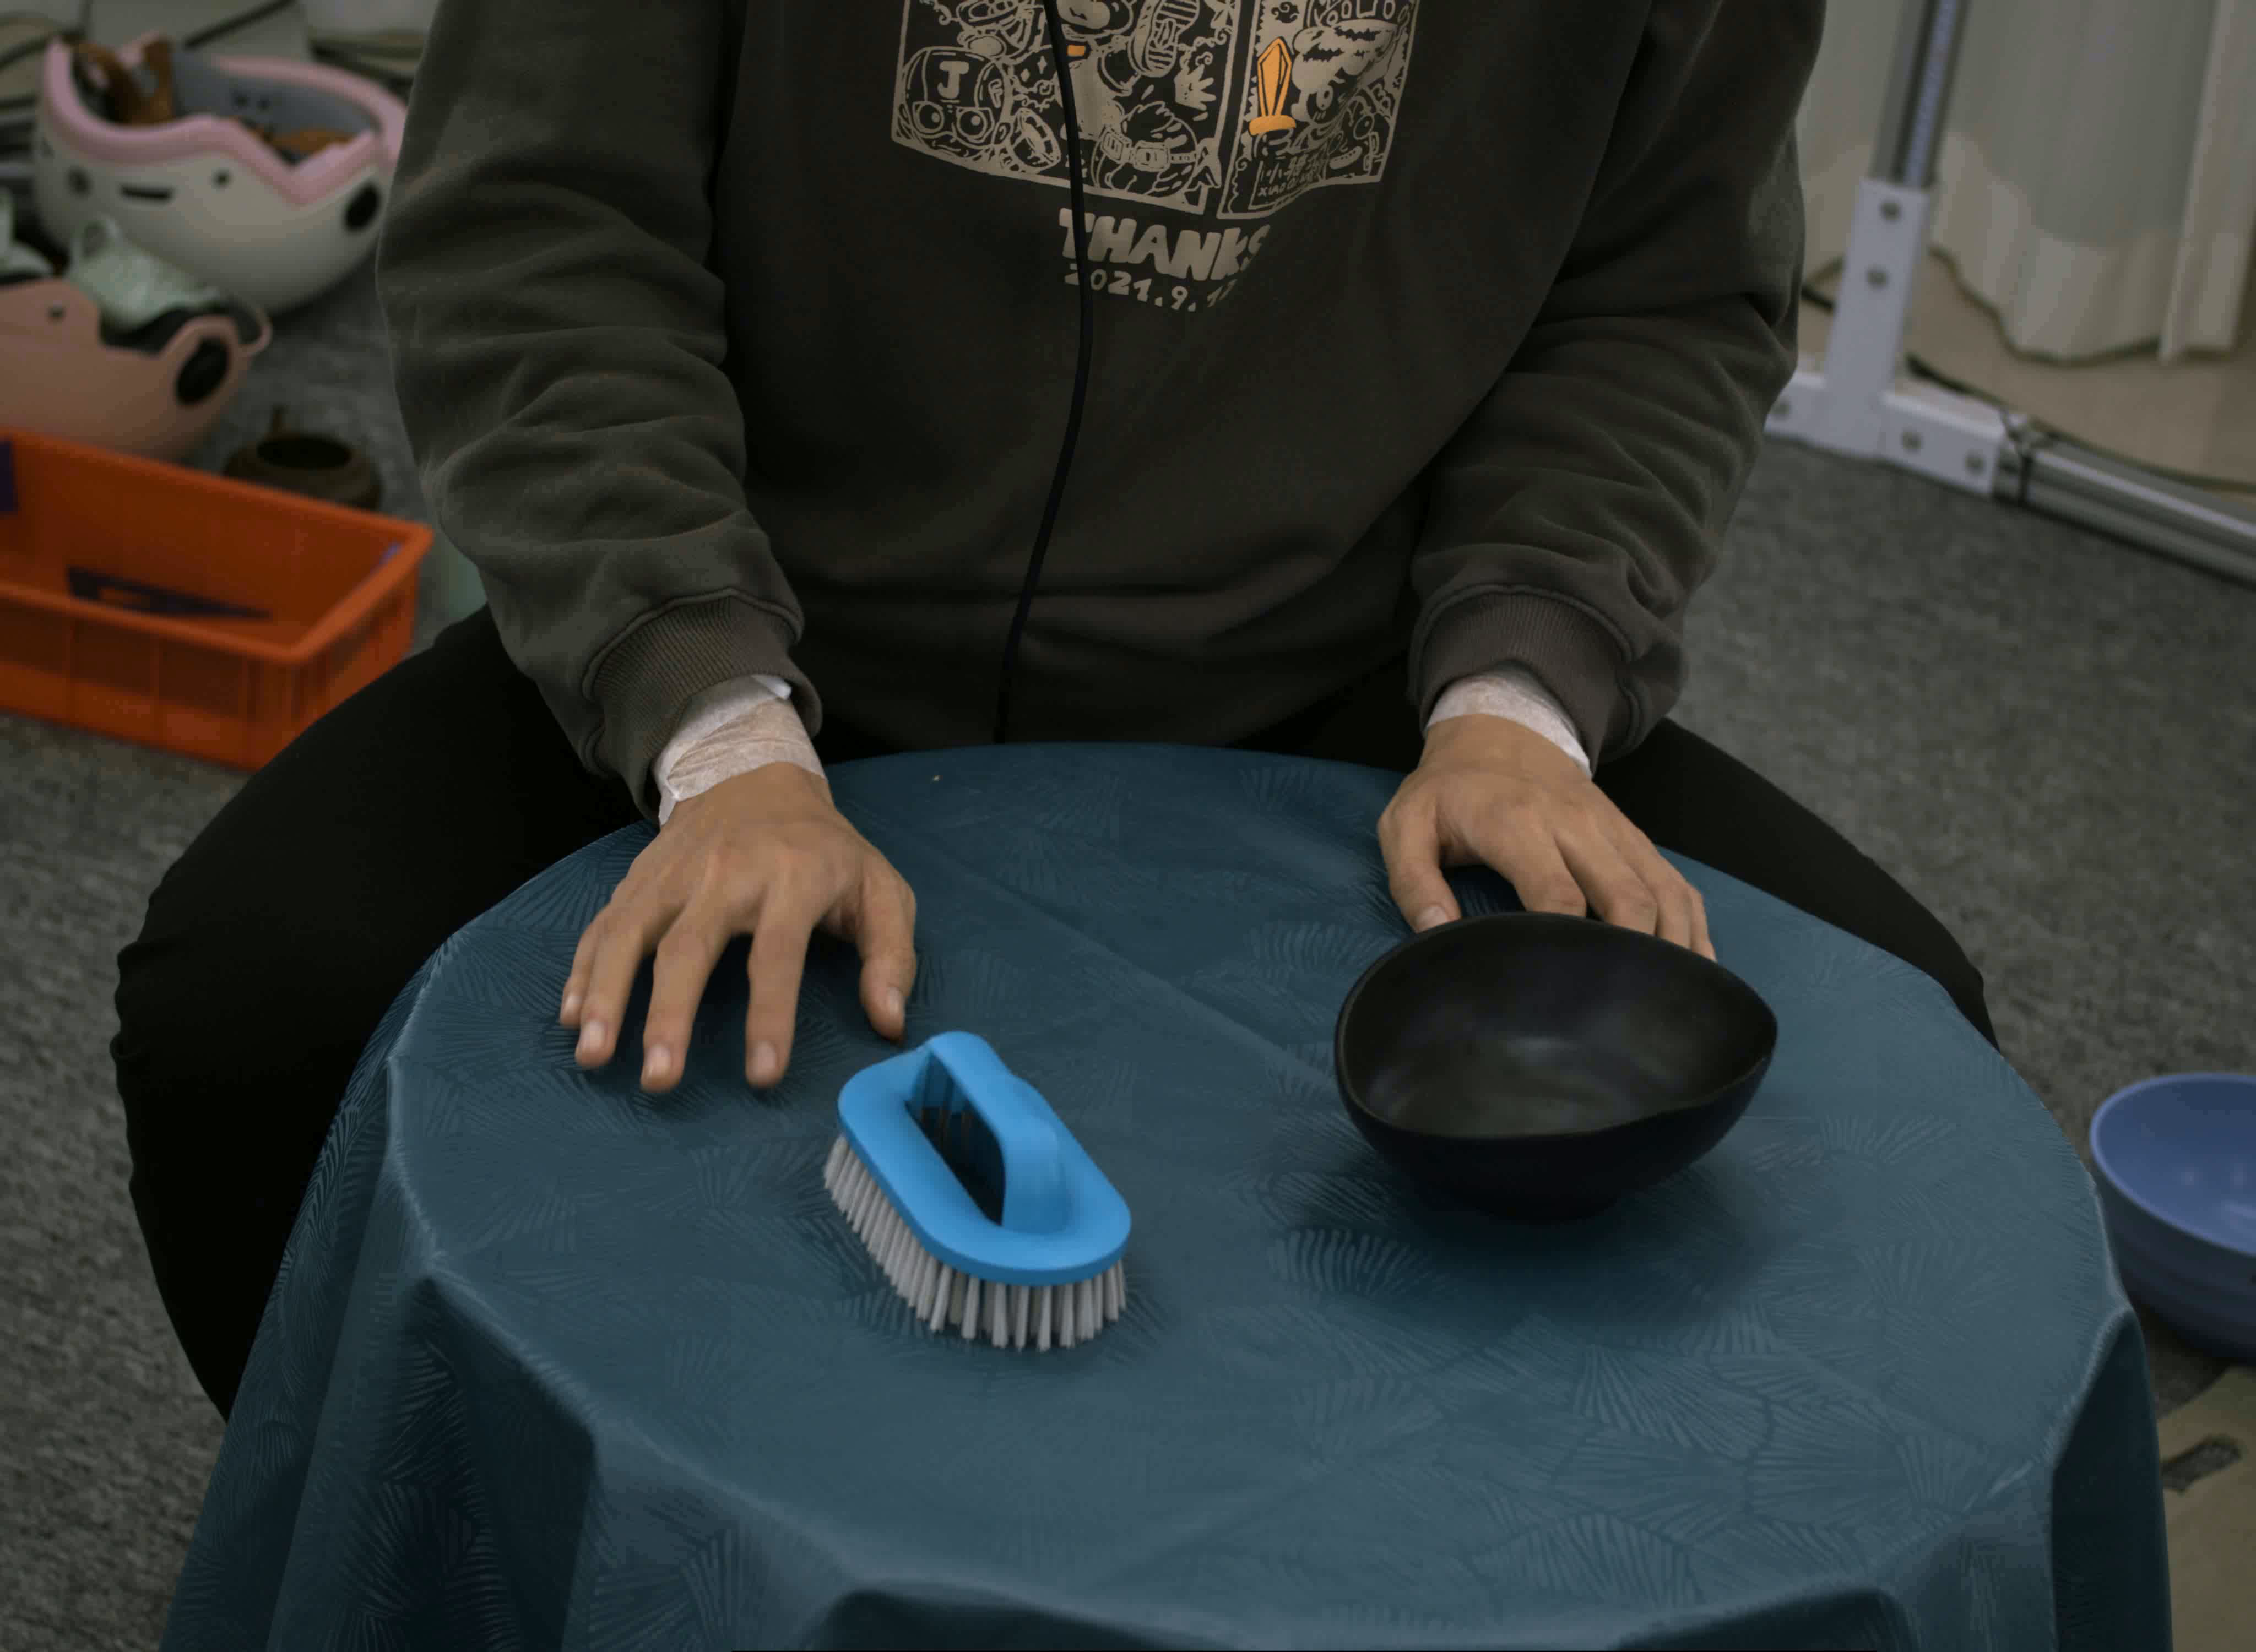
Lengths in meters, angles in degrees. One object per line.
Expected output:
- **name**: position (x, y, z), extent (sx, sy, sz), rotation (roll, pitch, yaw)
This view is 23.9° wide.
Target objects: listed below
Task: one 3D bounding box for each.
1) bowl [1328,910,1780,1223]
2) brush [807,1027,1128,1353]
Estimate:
- **bowl**: position (0.144, 0.093, 1.828), extent (0.169, 0.066, 0.138), rotation (-19, 36, -39)
- **brush**: position (-0.050, 0.109, 1.748), extent (0.084, 0.063, 0.143), rotation (0, 28, -24)
